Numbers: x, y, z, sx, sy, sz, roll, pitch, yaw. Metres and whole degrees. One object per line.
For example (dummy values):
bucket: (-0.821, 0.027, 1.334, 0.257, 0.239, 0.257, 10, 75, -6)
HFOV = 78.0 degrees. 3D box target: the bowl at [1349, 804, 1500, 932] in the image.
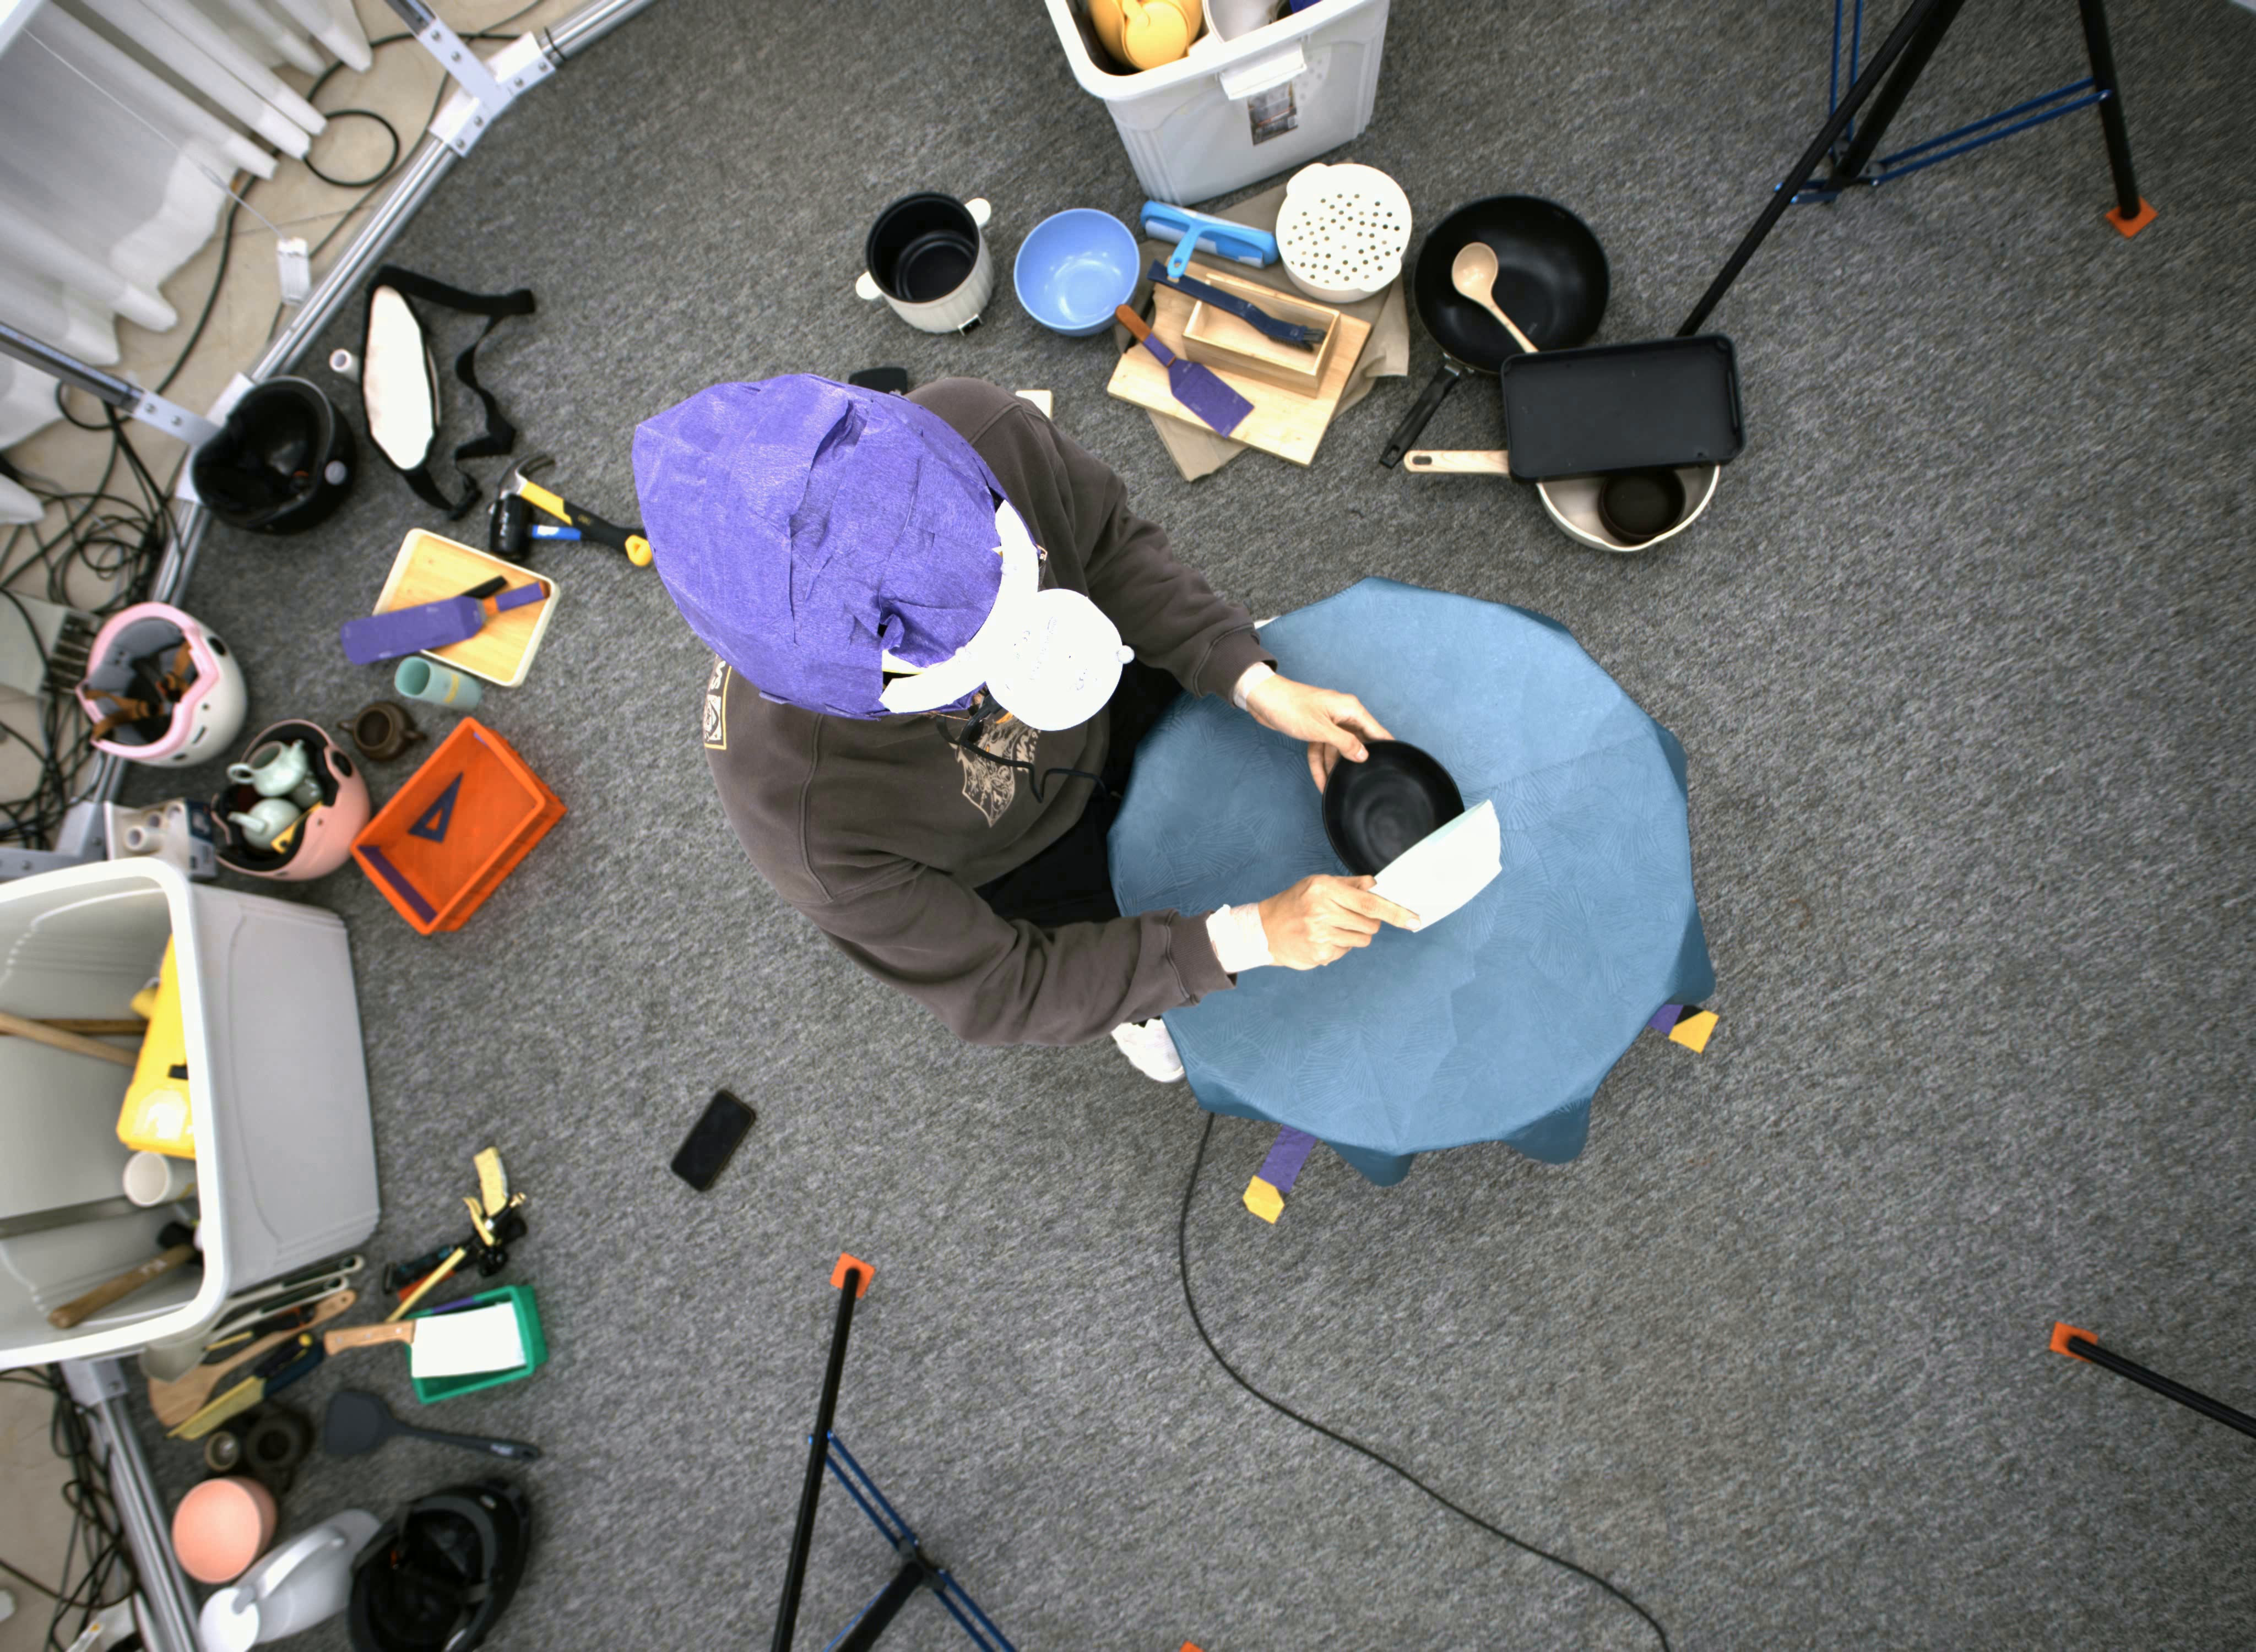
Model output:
bowl: (0.276, 0.044, 1.234, 0.152, 0.151, 0.058, -35, 87, 6)

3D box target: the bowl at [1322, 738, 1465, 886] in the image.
bowl: (0.269, -0.006, 1.398, 0.138, 0.066, 0.169, -26, 86, 6)
